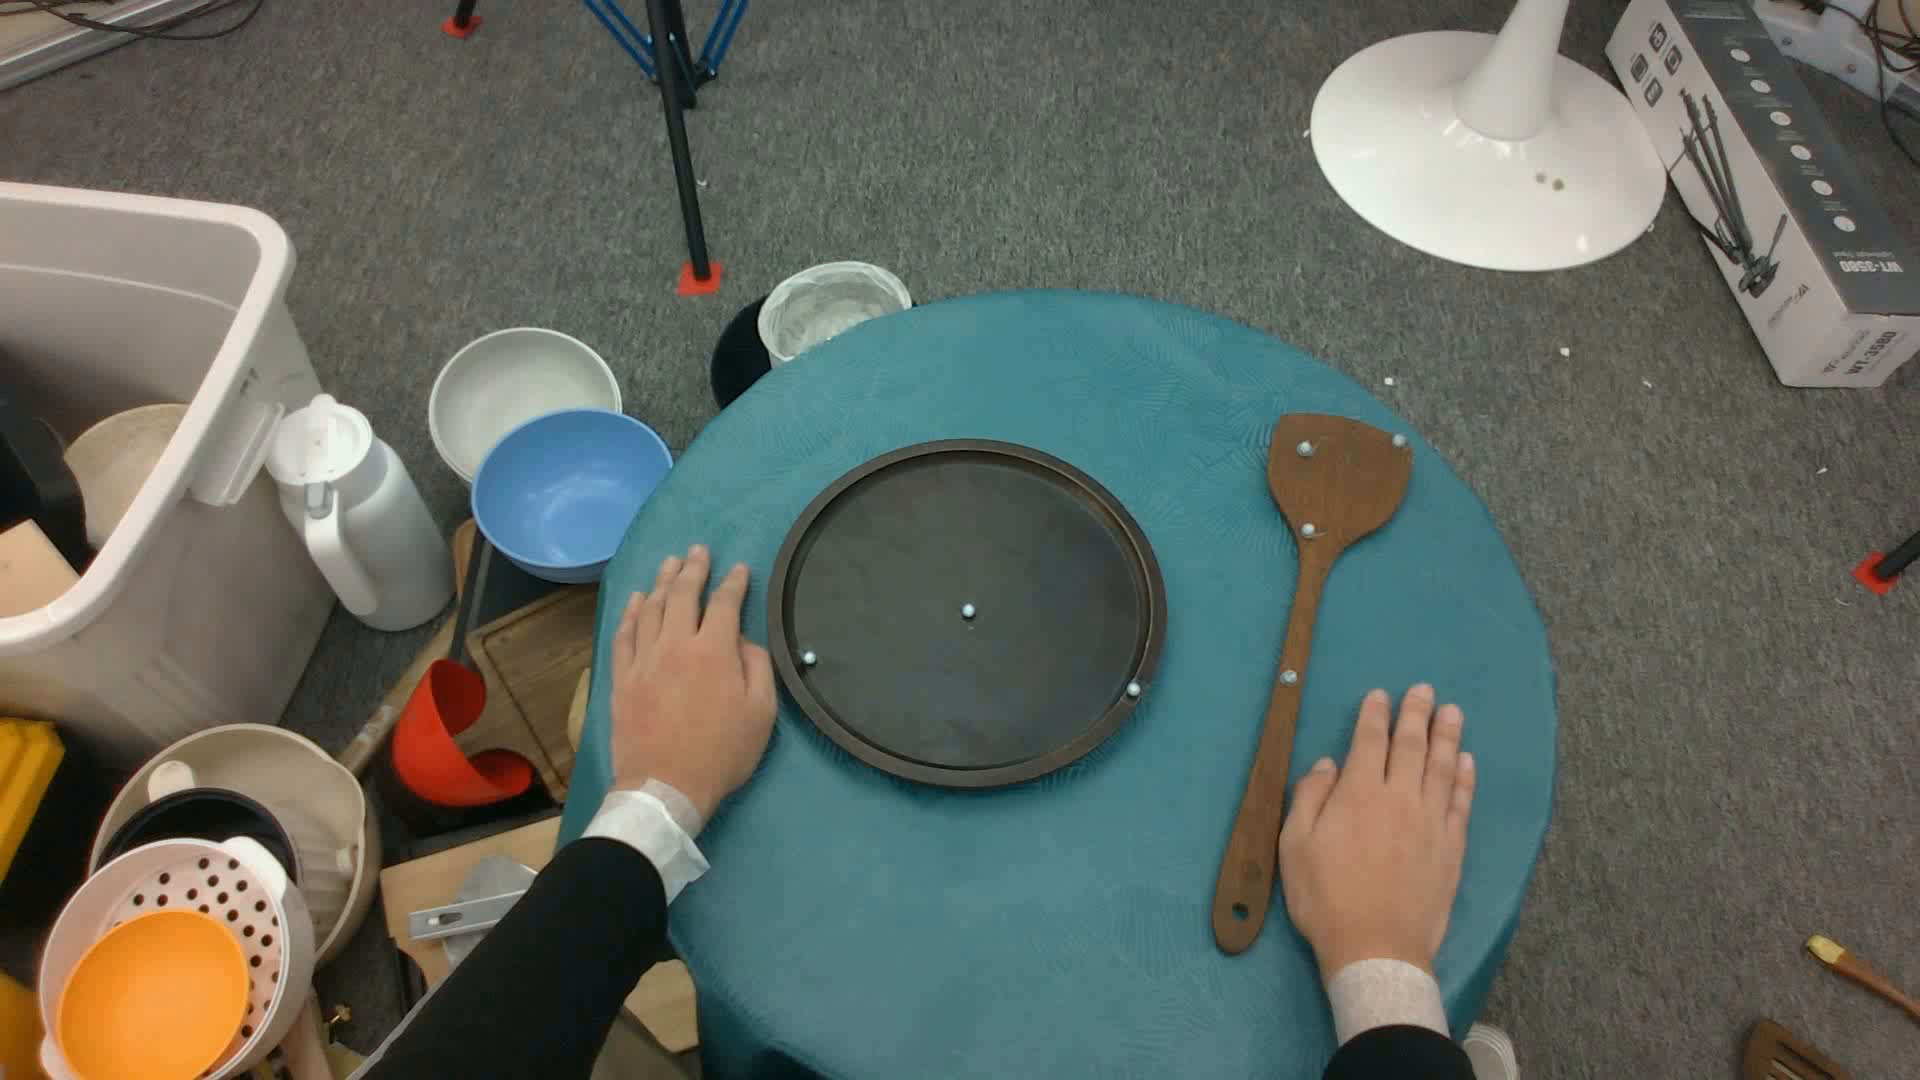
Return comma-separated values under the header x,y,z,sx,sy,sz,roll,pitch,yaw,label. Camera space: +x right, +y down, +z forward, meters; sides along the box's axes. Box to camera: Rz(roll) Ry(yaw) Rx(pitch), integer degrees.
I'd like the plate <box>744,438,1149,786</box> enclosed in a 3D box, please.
x,y,z,sx,sy,sz,roll,pitch,yaw,label
-0.008,0.039,0.868,0.255,0.029,0.256,2,56,-3,plate

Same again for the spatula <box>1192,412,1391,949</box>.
x,y,z,sx,sy,sz,roll,pitch,yaw,label
0.197,0.070,0.861,0.096,0.016,0.388,16,58,9,spatula
